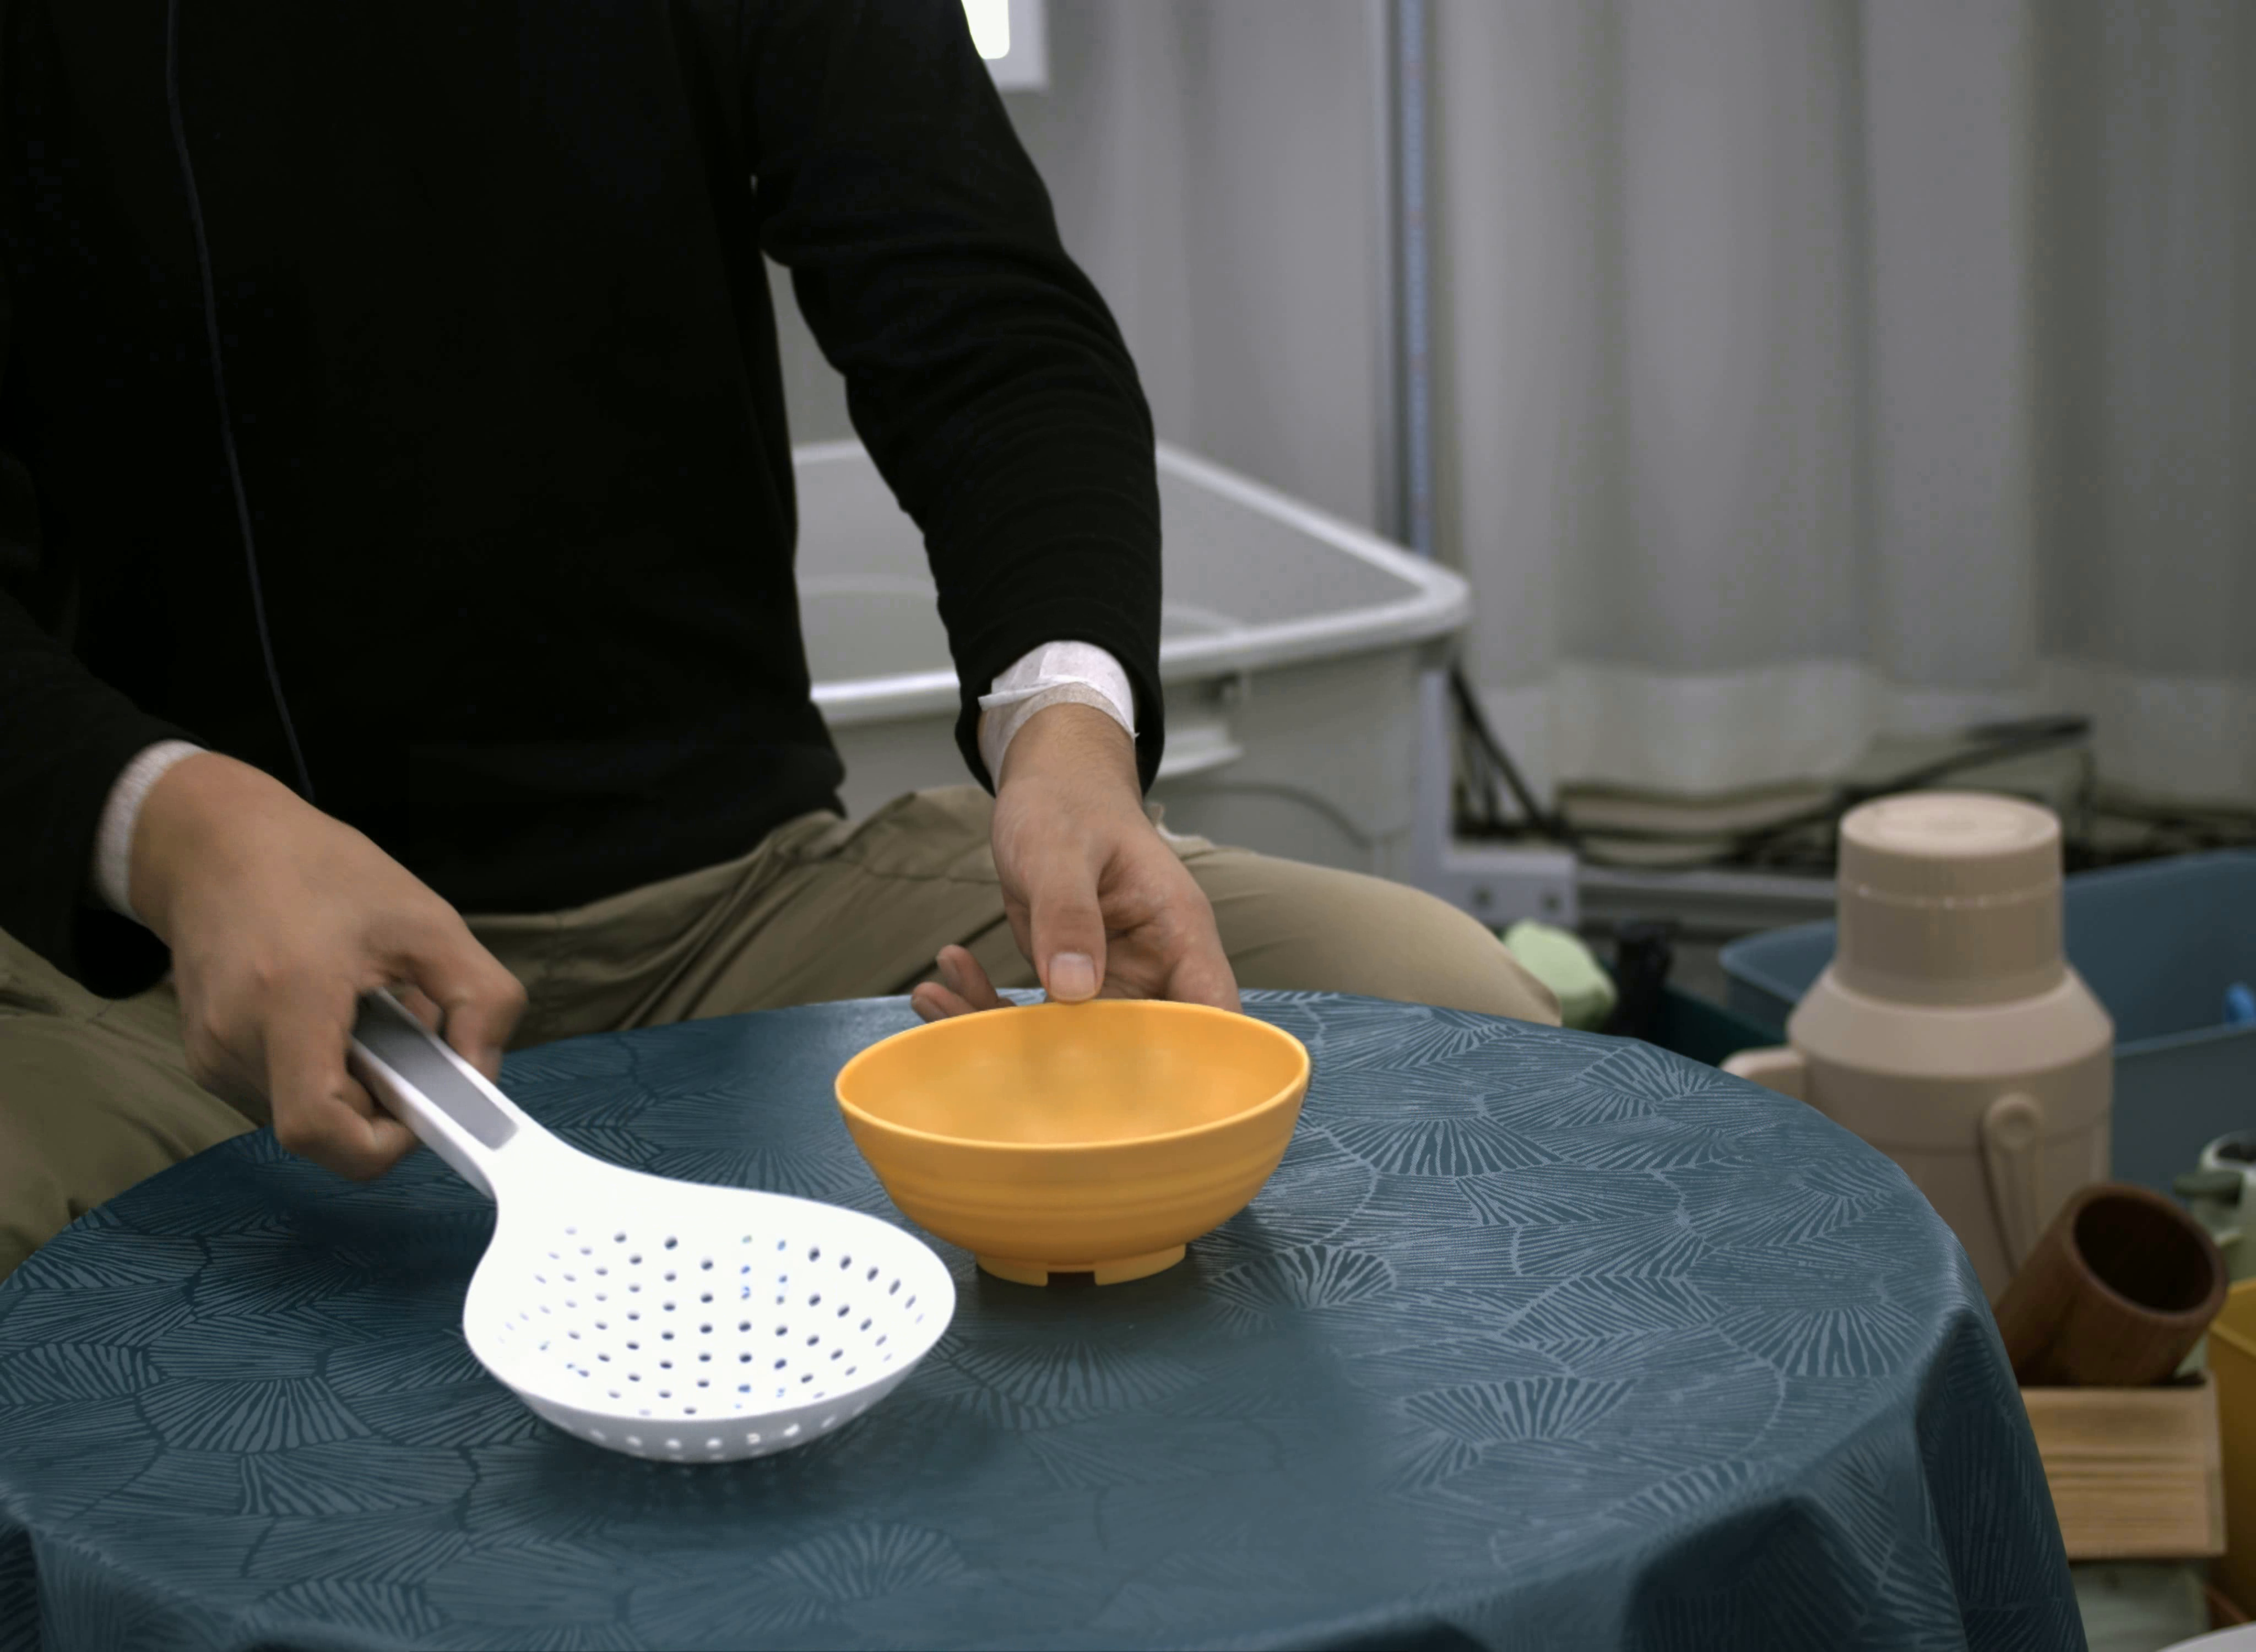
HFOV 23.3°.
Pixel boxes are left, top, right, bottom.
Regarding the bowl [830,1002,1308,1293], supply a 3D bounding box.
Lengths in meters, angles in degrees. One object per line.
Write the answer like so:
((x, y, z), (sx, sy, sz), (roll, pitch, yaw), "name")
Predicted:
((-0.017, 0.103, 1.655), (0.145, 0.060, 0.146), (-1, 15, 0), "bowl")

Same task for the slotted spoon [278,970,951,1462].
((-0.172, 0.107, 1.604), (0.135, 0.045, 0.353), (-14, 29, -28), "slotted spoon")
